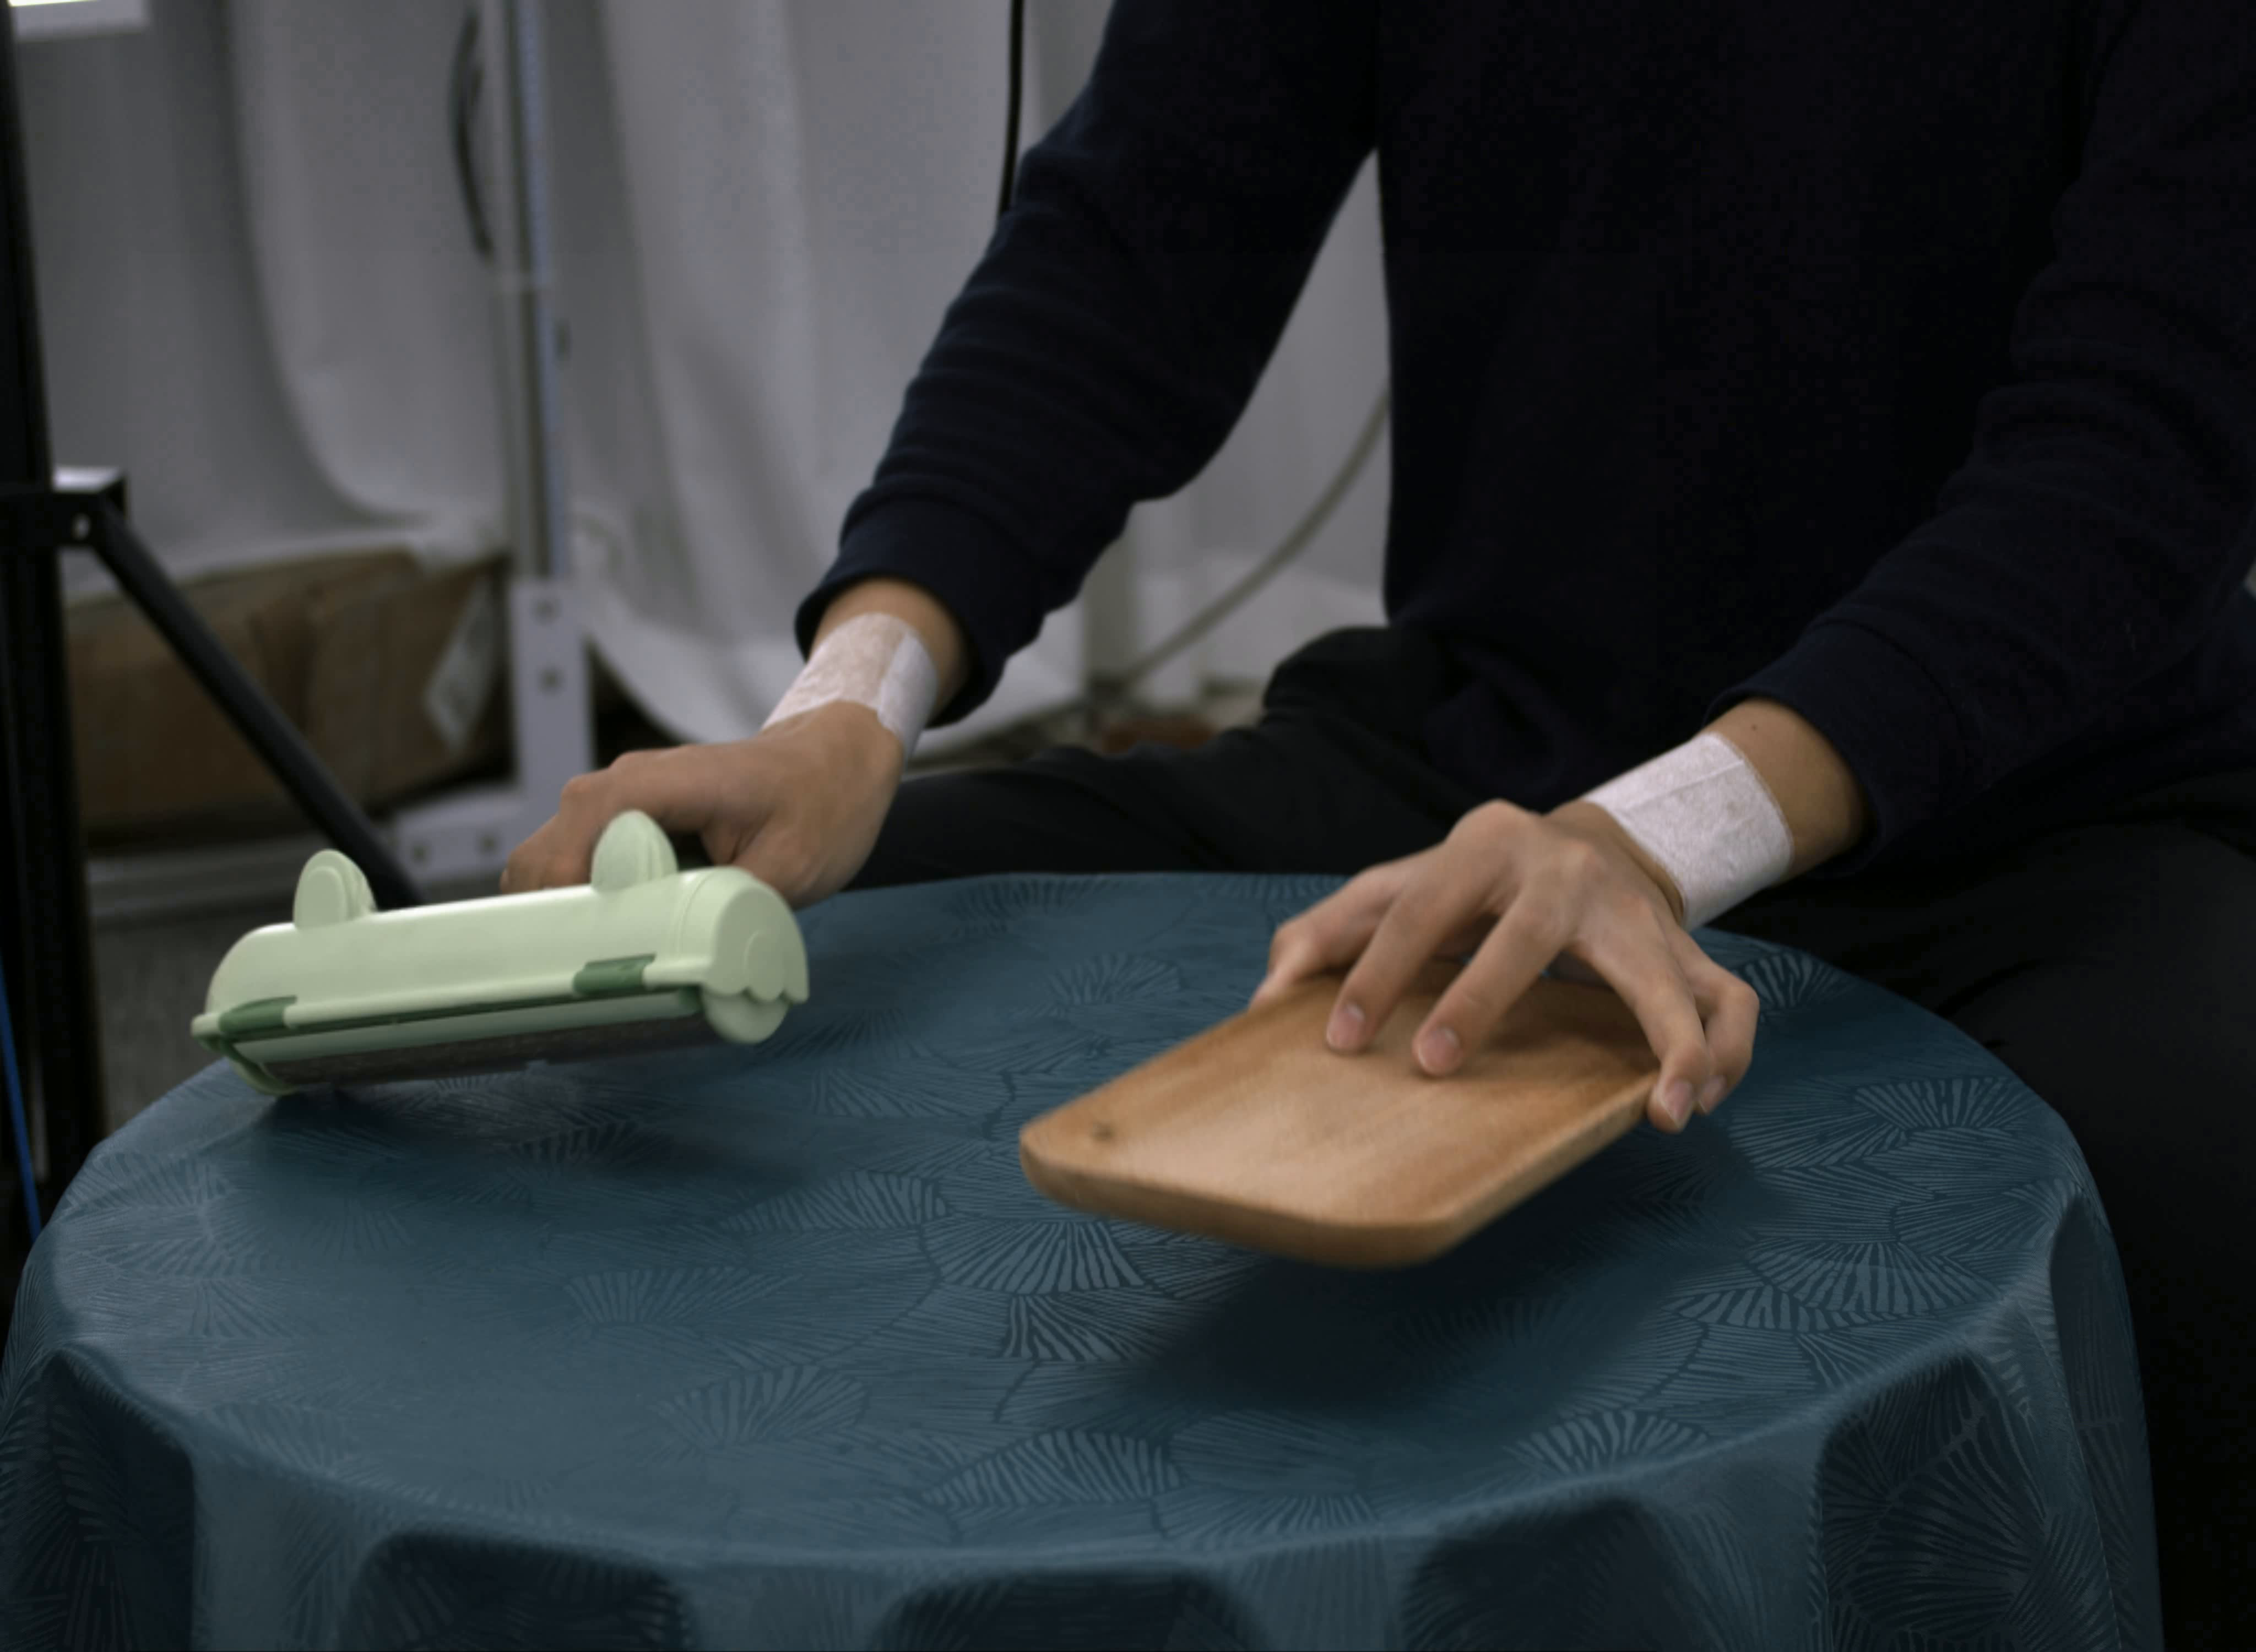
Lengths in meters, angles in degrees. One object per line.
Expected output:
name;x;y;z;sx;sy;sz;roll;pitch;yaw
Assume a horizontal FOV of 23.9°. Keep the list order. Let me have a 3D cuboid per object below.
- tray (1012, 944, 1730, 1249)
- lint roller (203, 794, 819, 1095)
tray;0.072;0.073;1.483;0.133;0.023;0.246;13;16;26
lint roller;-0.170;0.016;1.679;0.202;0.082;0.181;-9;21;31
